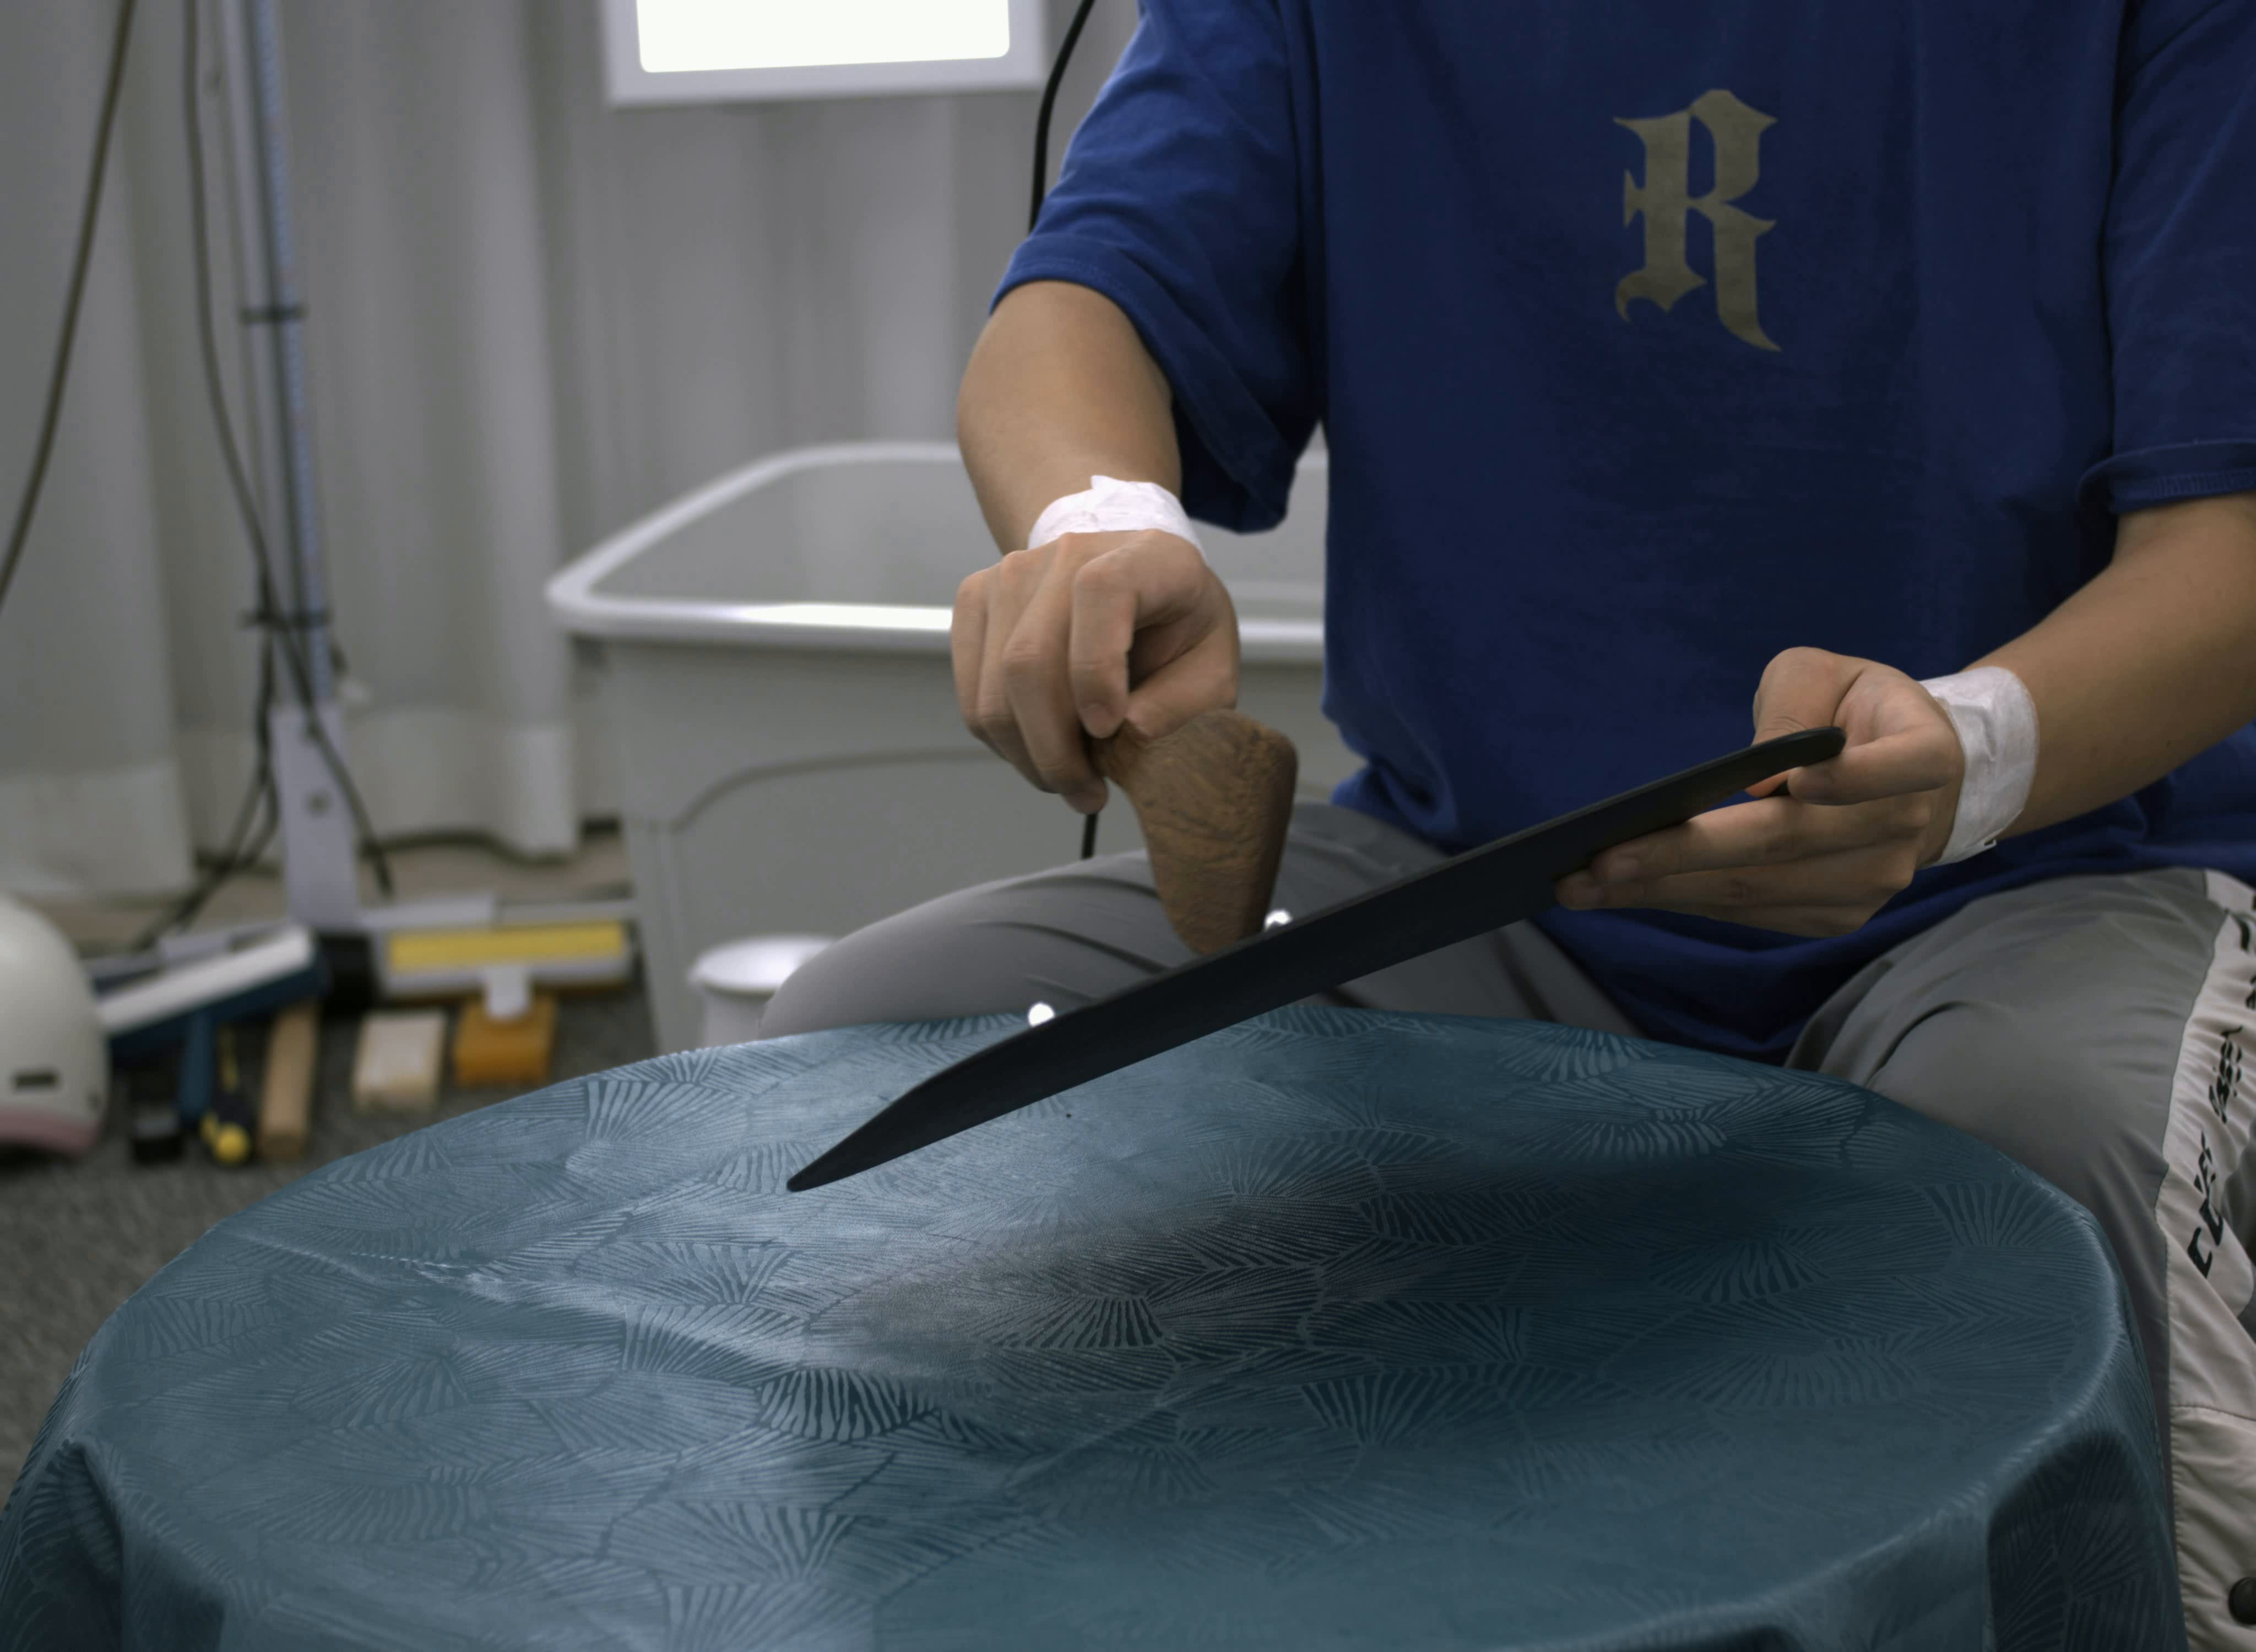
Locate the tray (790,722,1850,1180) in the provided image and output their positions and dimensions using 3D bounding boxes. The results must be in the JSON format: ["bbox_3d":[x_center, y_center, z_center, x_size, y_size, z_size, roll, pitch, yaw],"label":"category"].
[{"bbox_3d":[0.060,0.035,1.605,0.325,0.010,0.210,-20,-8,-23],"label":"tray"}]

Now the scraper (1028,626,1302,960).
[{"bbox_3d":[0.006,-0.022,1.656,0.011,0.075,0.213,6,14,-22],"label":"scraper"}]
